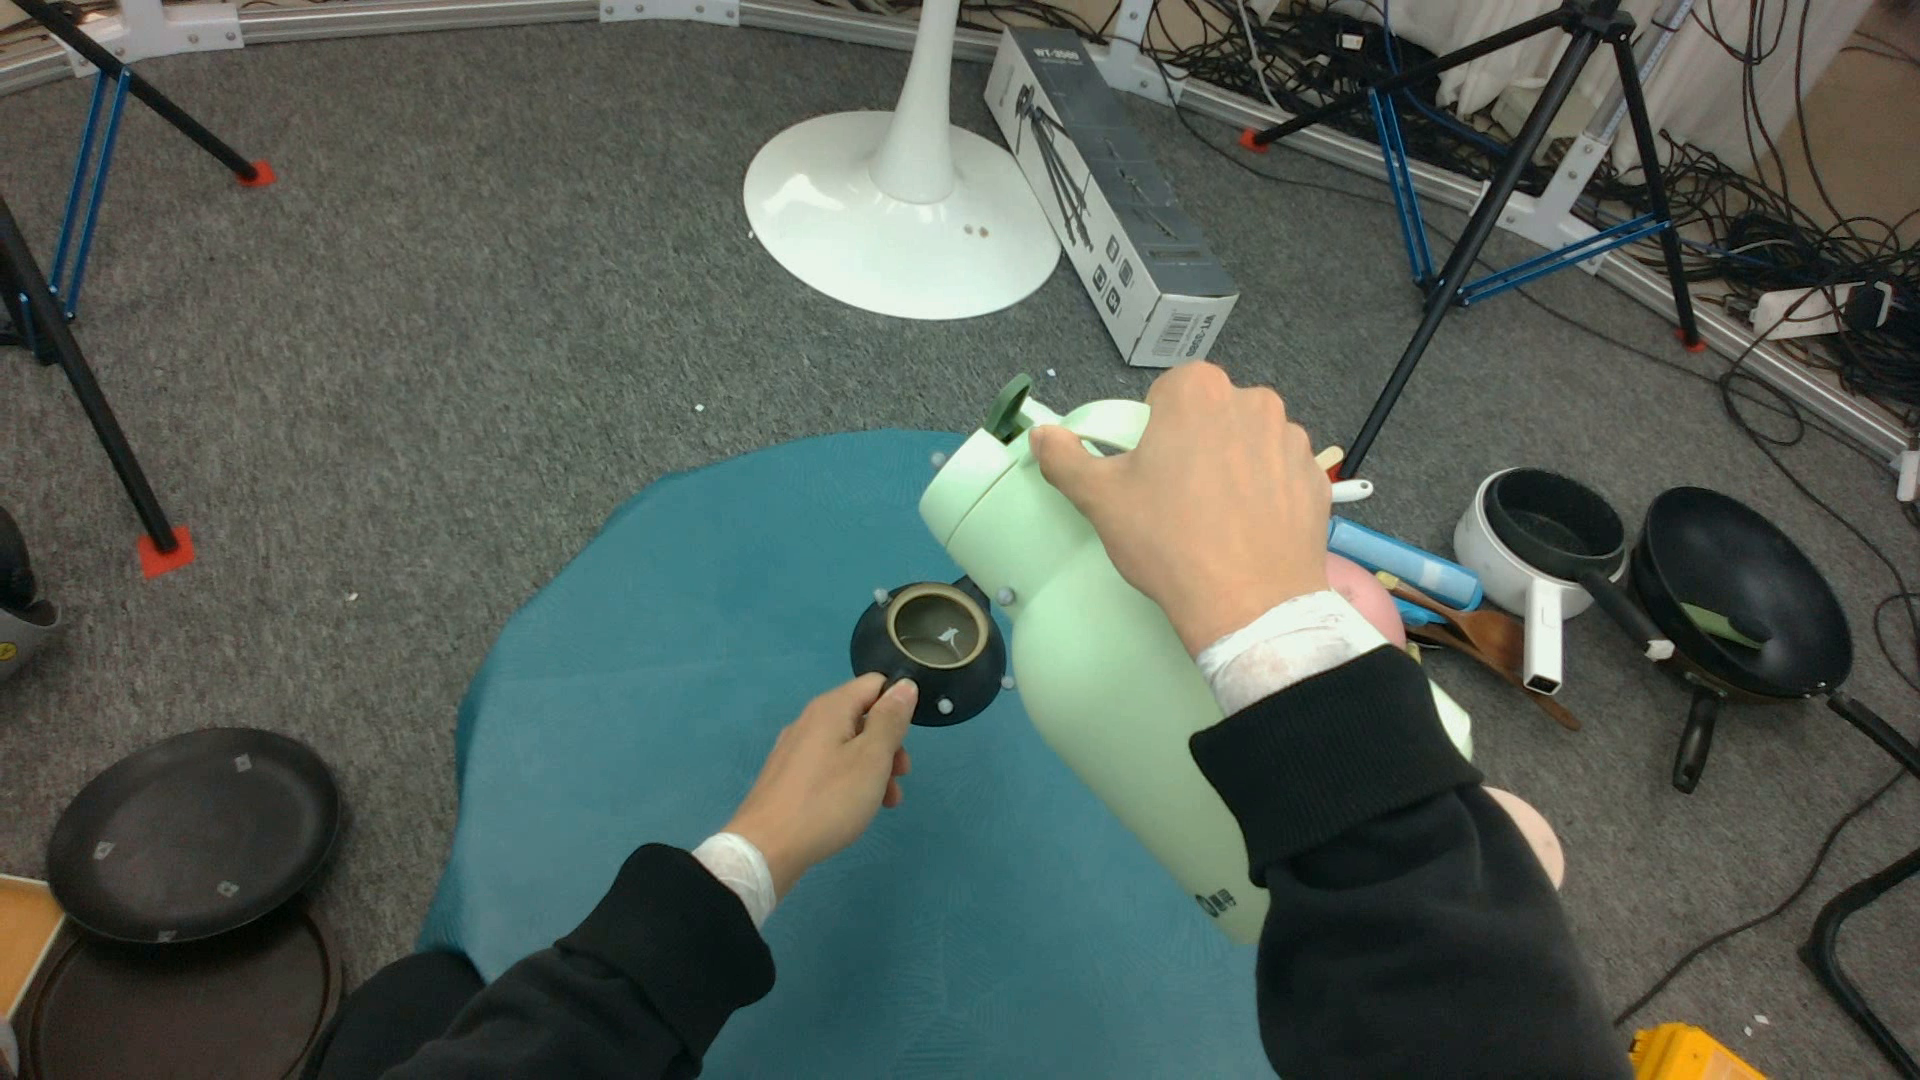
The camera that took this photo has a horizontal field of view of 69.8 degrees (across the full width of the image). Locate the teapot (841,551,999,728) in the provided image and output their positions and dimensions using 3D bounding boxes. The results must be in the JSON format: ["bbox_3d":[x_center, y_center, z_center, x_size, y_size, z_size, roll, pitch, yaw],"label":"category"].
[{"bbox_3d":[-0.022,0.059,0.782,0.091,0.053,0.134,28,48,11],"label":"teapot"}]

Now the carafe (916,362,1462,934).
[{"bbox_3d":[0.096,0.037,0.617,0.257,0.186,0.145,47,59,5],"label":"carafe"}]
